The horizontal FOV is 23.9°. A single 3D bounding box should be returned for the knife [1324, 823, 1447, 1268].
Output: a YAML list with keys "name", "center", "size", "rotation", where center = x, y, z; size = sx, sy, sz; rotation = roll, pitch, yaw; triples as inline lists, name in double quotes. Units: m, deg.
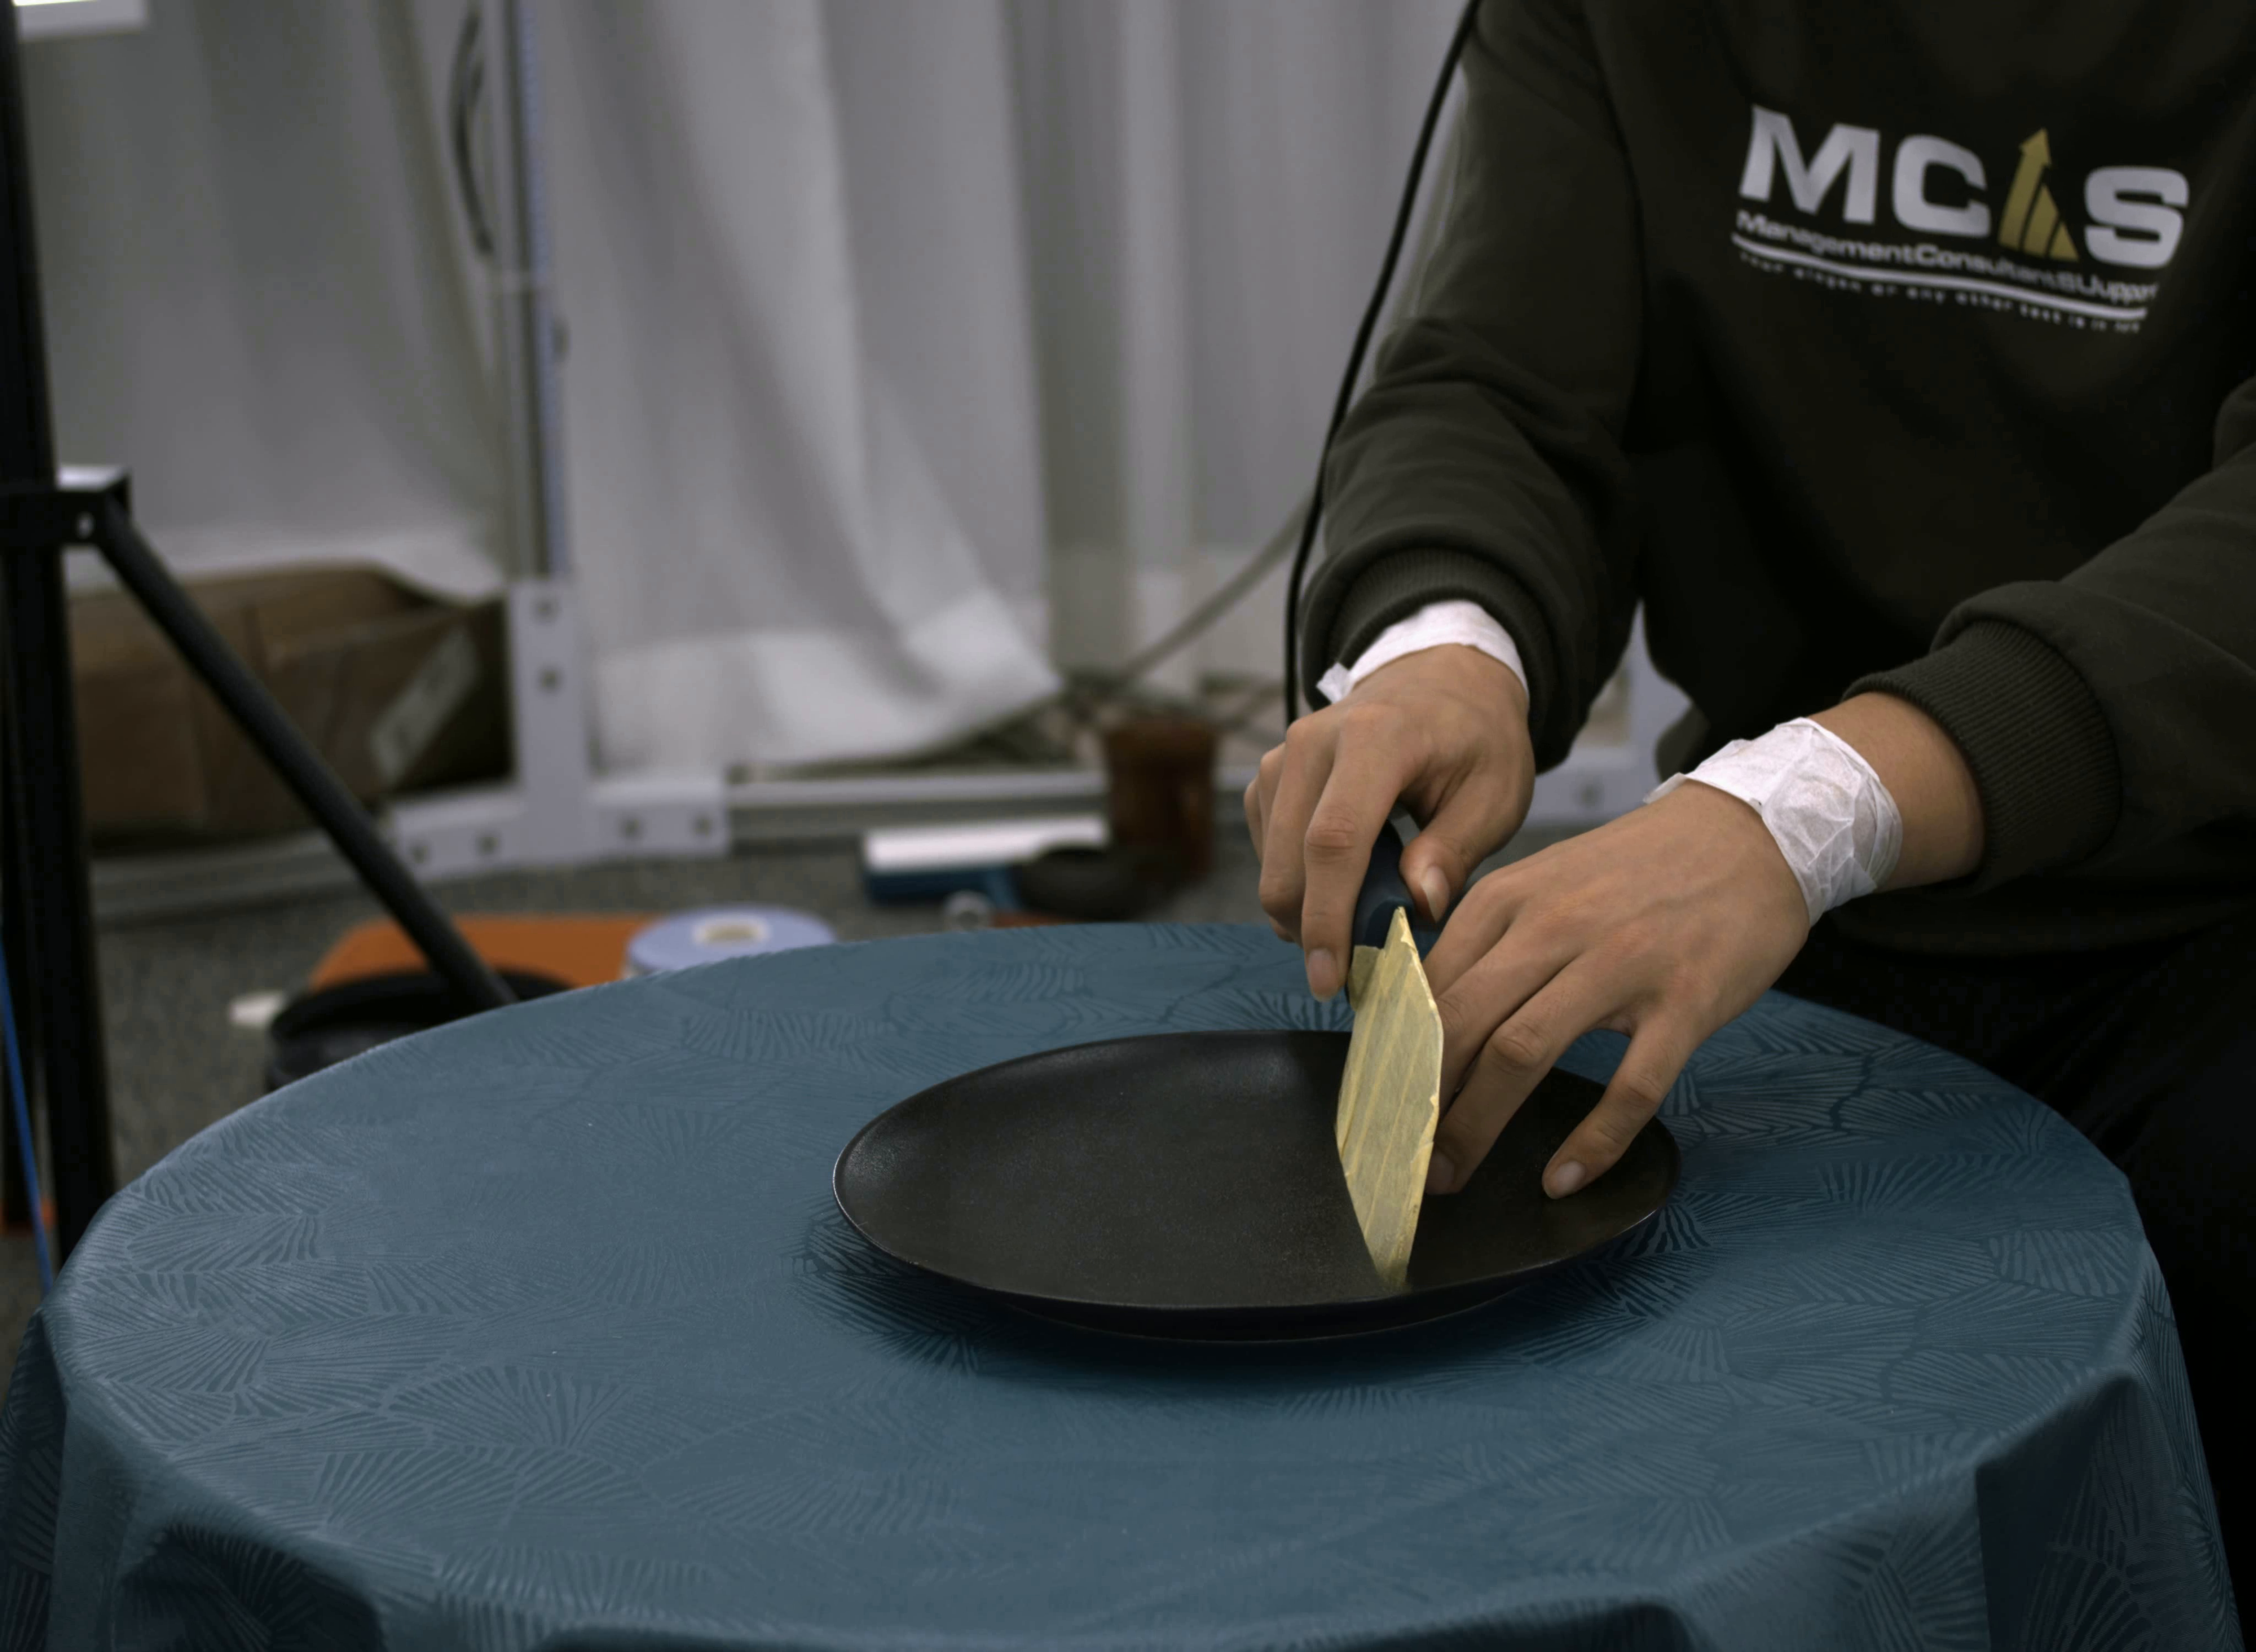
- name: "knife"
  center: [0.073, 0.059, 1.556]
  size: [0.027, 0.081, 0.291]
  rotation: [17, 17, -6]

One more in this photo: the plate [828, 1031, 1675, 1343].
- name: "plate"
  center: [0.036, 0.106, 1.522]
  size: [0.243, 0.023, 0.245]
  rotation: [-3, 16, -1]
